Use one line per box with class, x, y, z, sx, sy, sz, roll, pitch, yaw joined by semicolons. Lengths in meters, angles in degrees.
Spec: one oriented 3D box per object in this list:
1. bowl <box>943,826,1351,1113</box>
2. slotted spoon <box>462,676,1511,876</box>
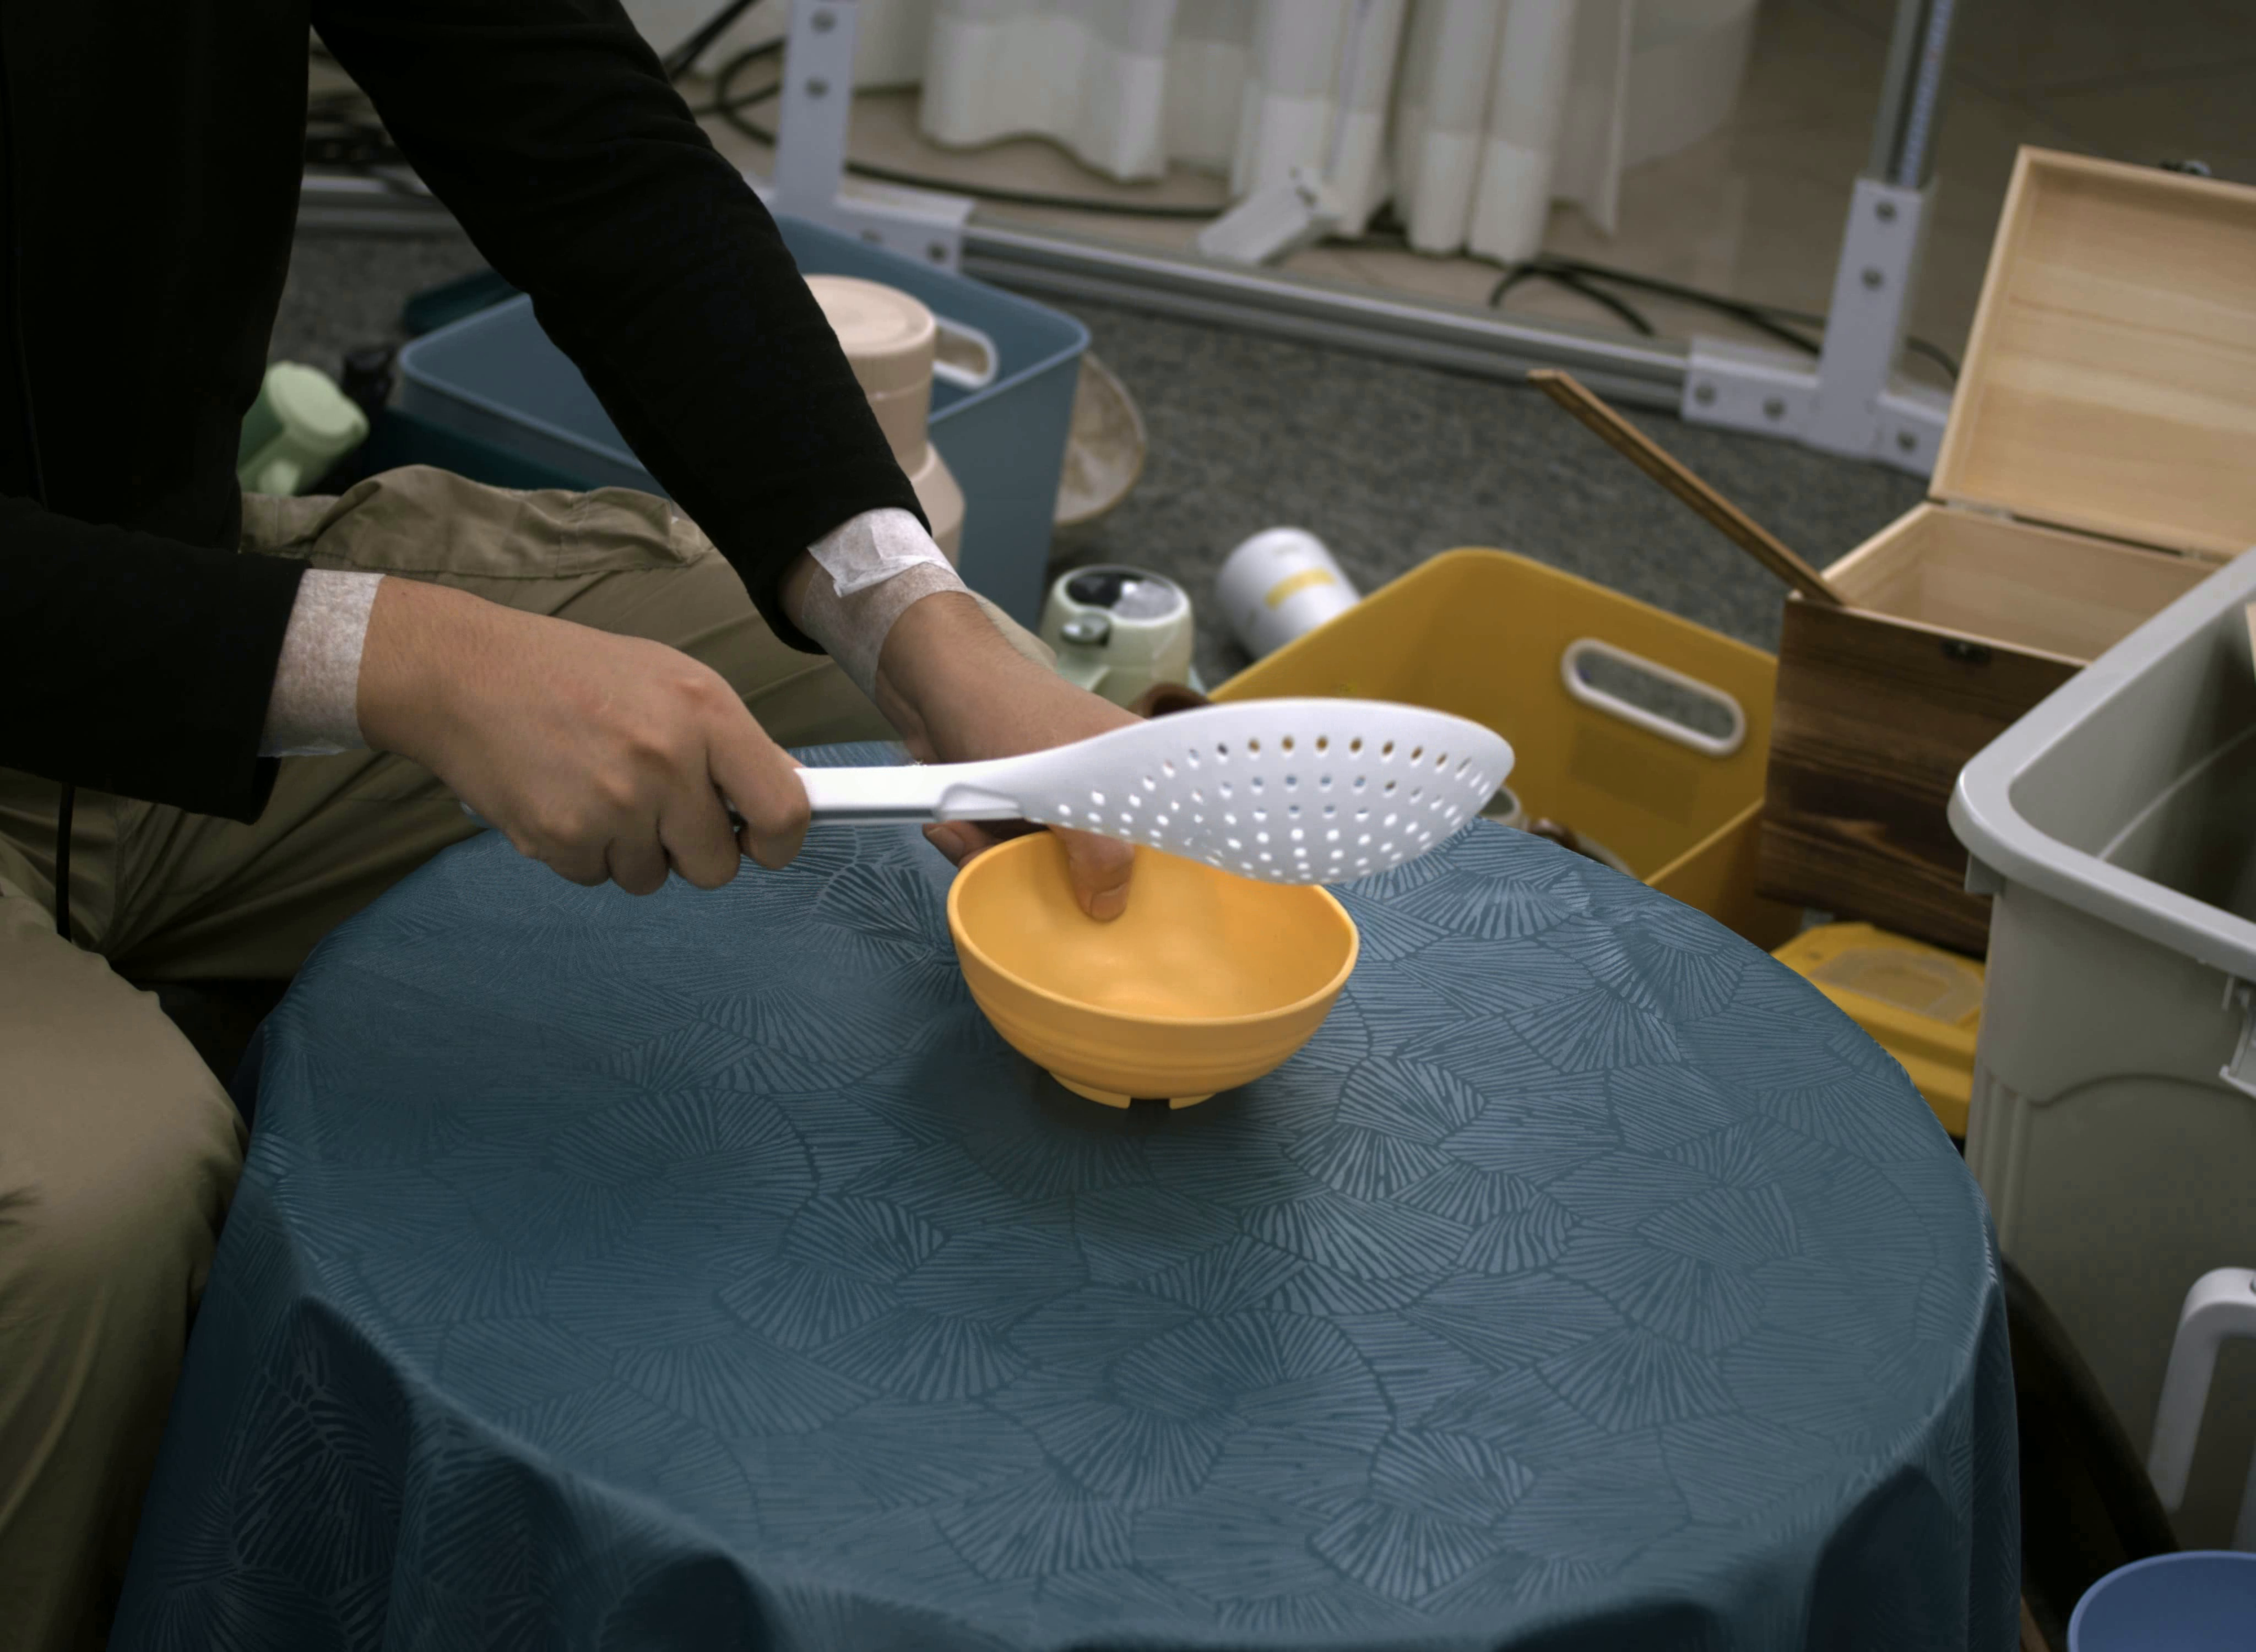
bowl;0.003;0.059;1.867;0.145;0.060;0.146;7;26;-4
slotted spoon;-0.049;-0.014;1.764;0.349;0.046;0.135;2;-18;8
